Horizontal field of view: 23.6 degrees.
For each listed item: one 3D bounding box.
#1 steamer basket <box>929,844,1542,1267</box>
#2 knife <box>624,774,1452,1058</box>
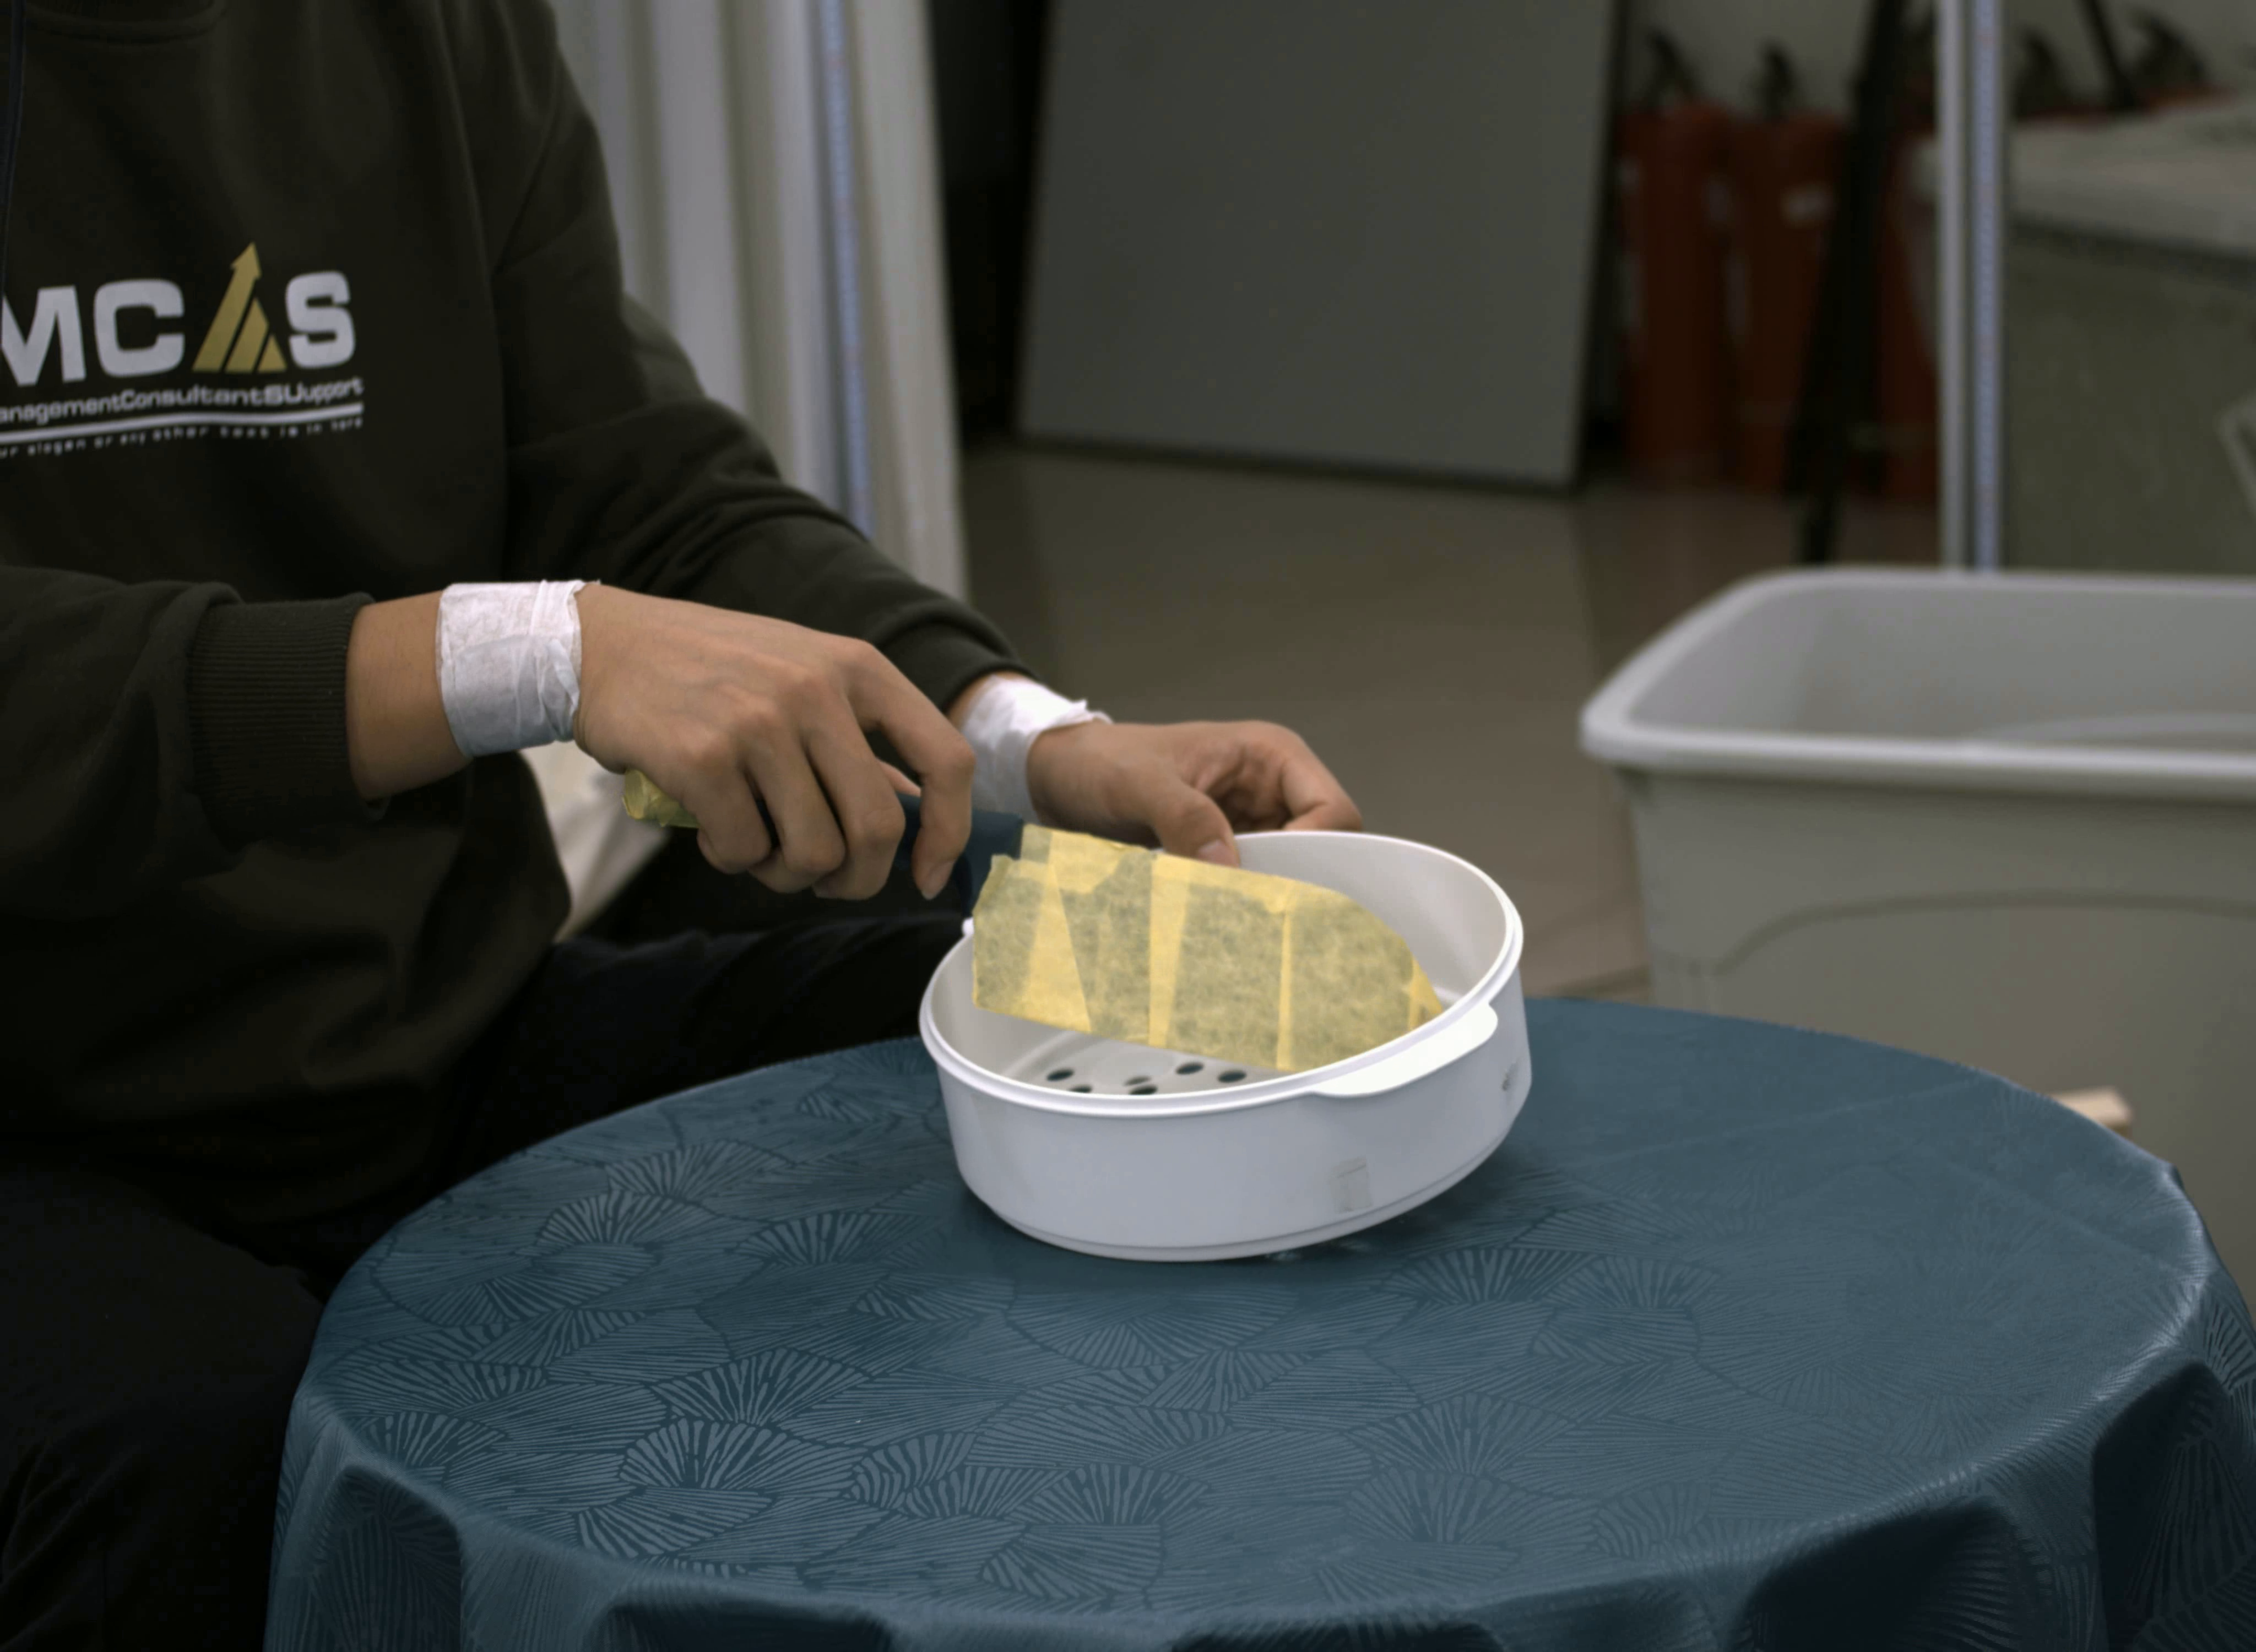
[{"bbox_3d":[0.038,0.075,1.762,0.198,0.070,0.233,-23,24,-29],"label":"steamer basket"},{"bbox_3d":[-0.027,0.031,1.761,0.284,0.082,0.027,13,-34,-11],"label":"knife"}]
